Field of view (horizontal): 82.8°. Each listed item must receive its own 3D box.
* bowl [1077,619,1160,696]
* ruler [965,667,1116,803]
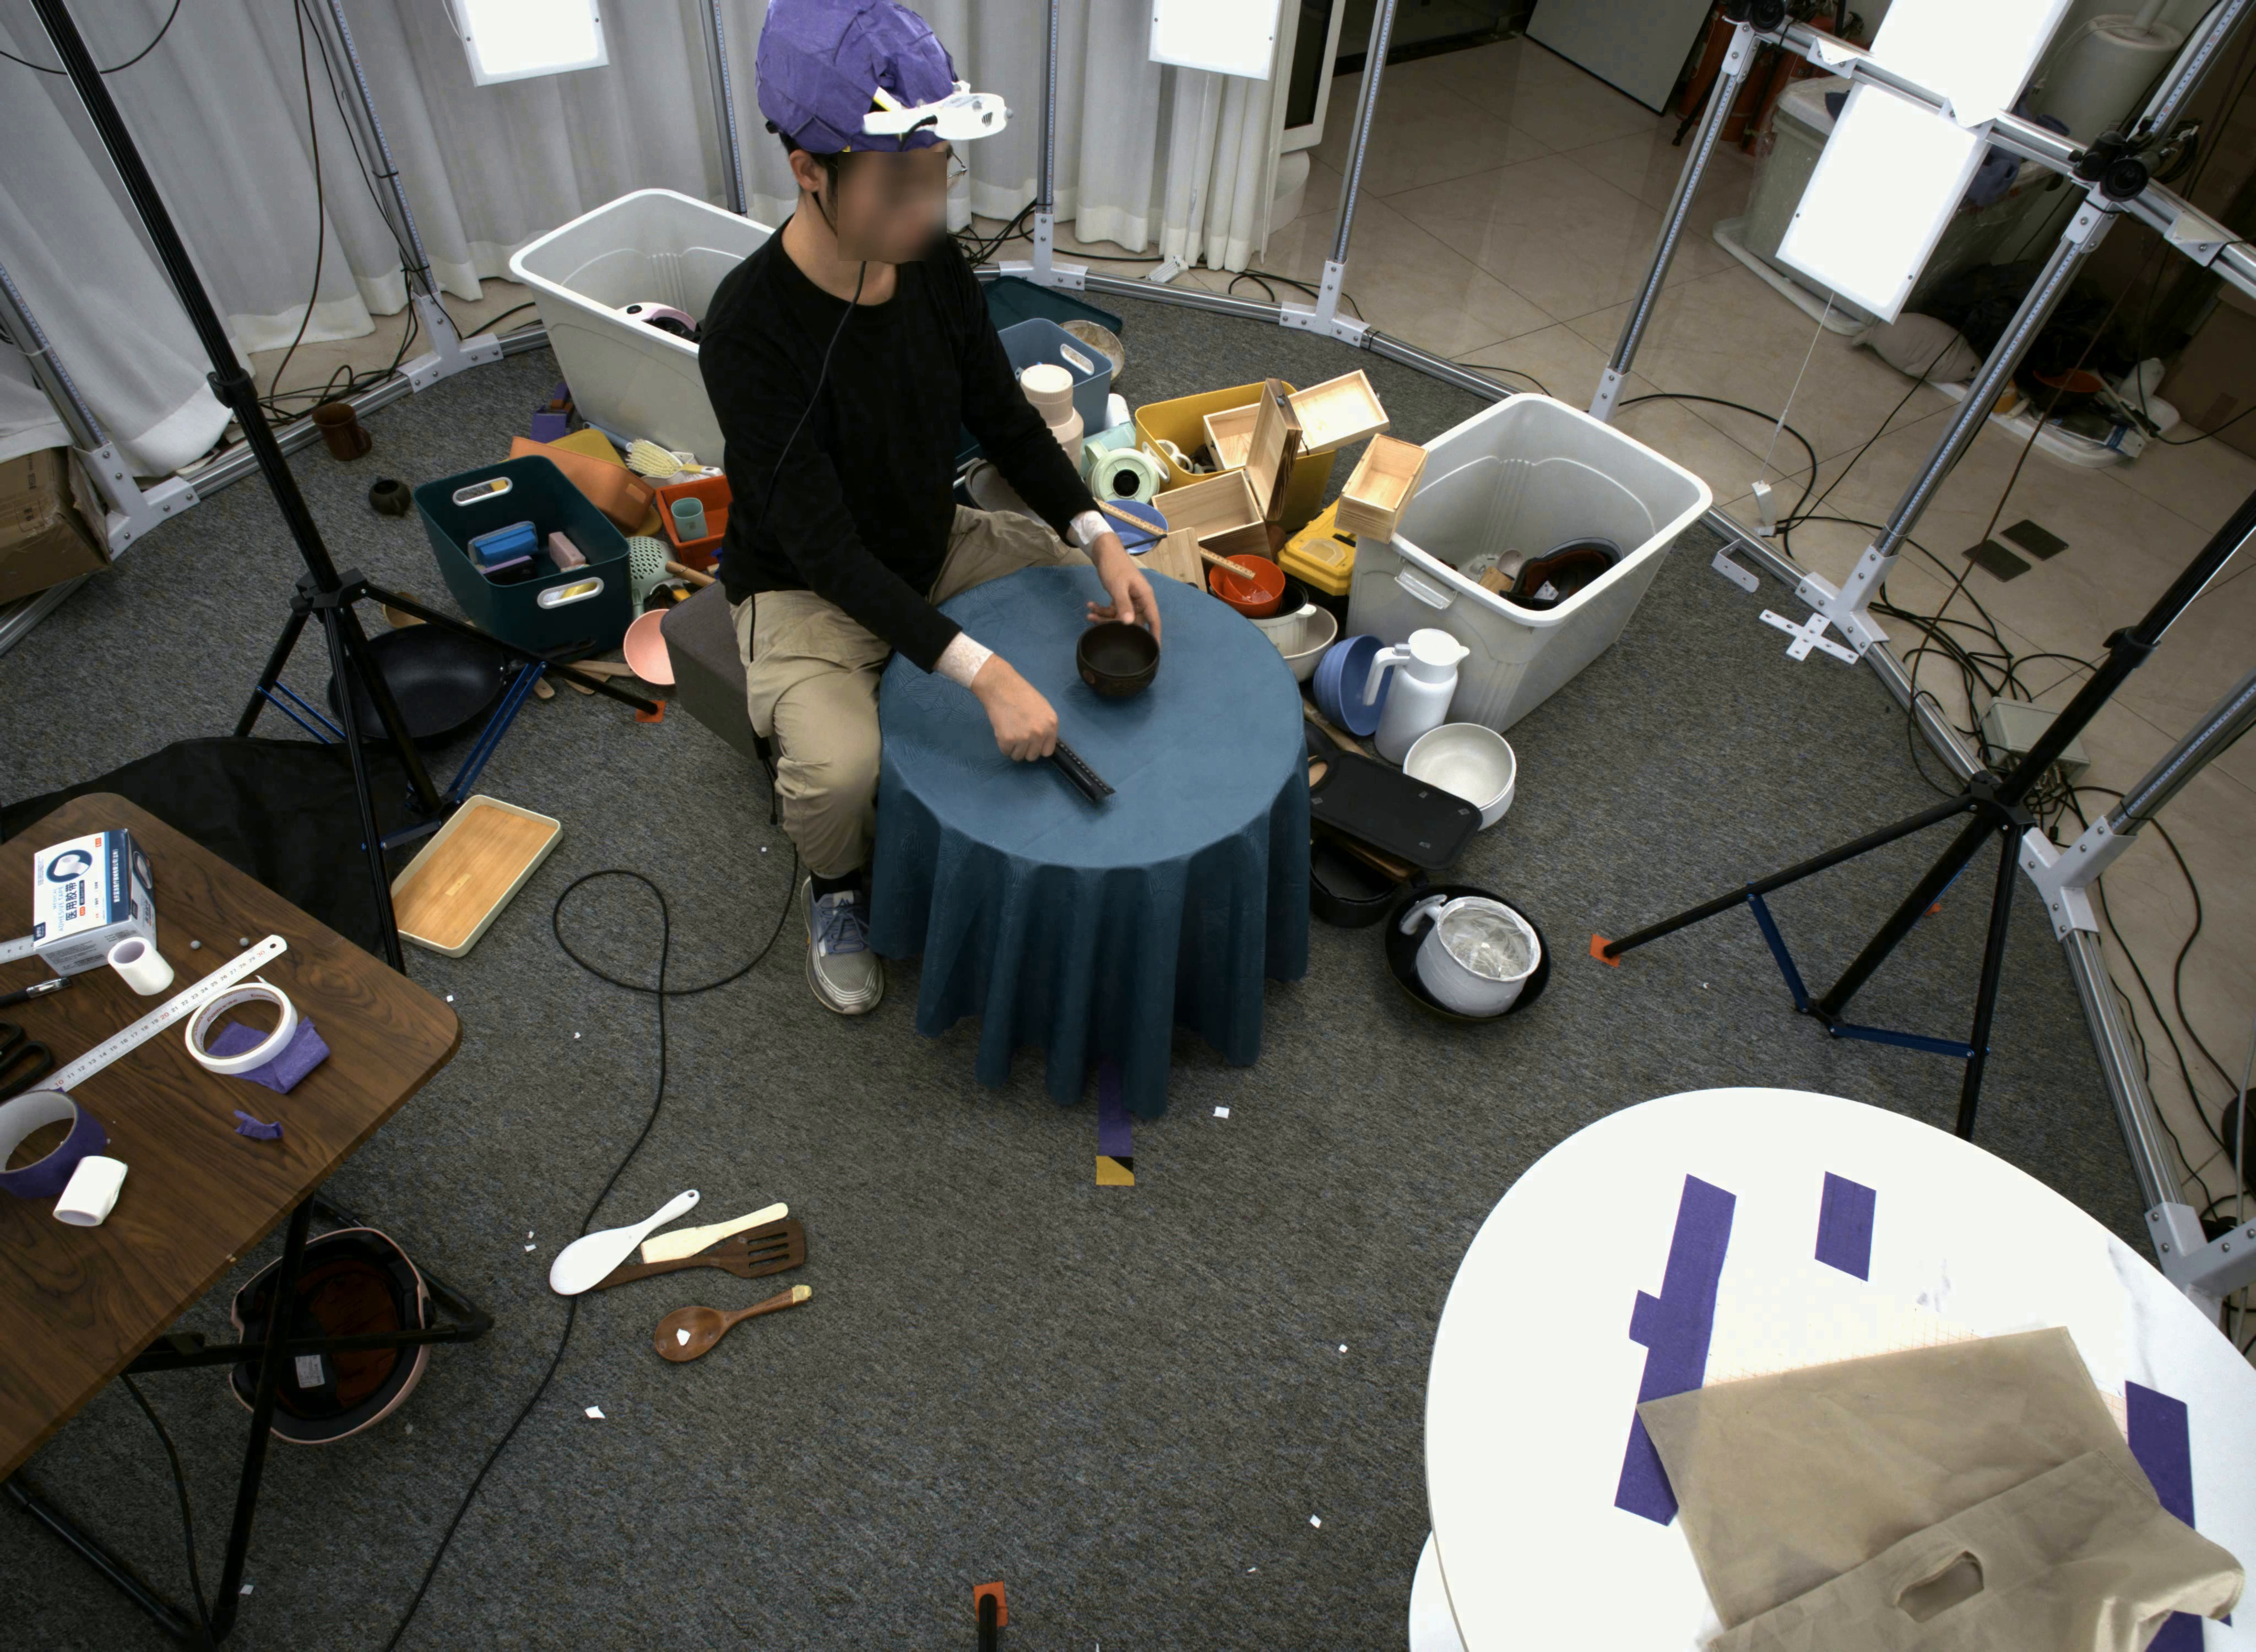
[{"bbox_3d":[-0.015,-0.231,1.821,0.118,0.068,0.121,2,49,-3],"label":"bowl"},{"bbox_3d":[-0.123,-0.134,1.757,0.039,0.017,0.318,-25,52,-29],"label":"ruler"}]
